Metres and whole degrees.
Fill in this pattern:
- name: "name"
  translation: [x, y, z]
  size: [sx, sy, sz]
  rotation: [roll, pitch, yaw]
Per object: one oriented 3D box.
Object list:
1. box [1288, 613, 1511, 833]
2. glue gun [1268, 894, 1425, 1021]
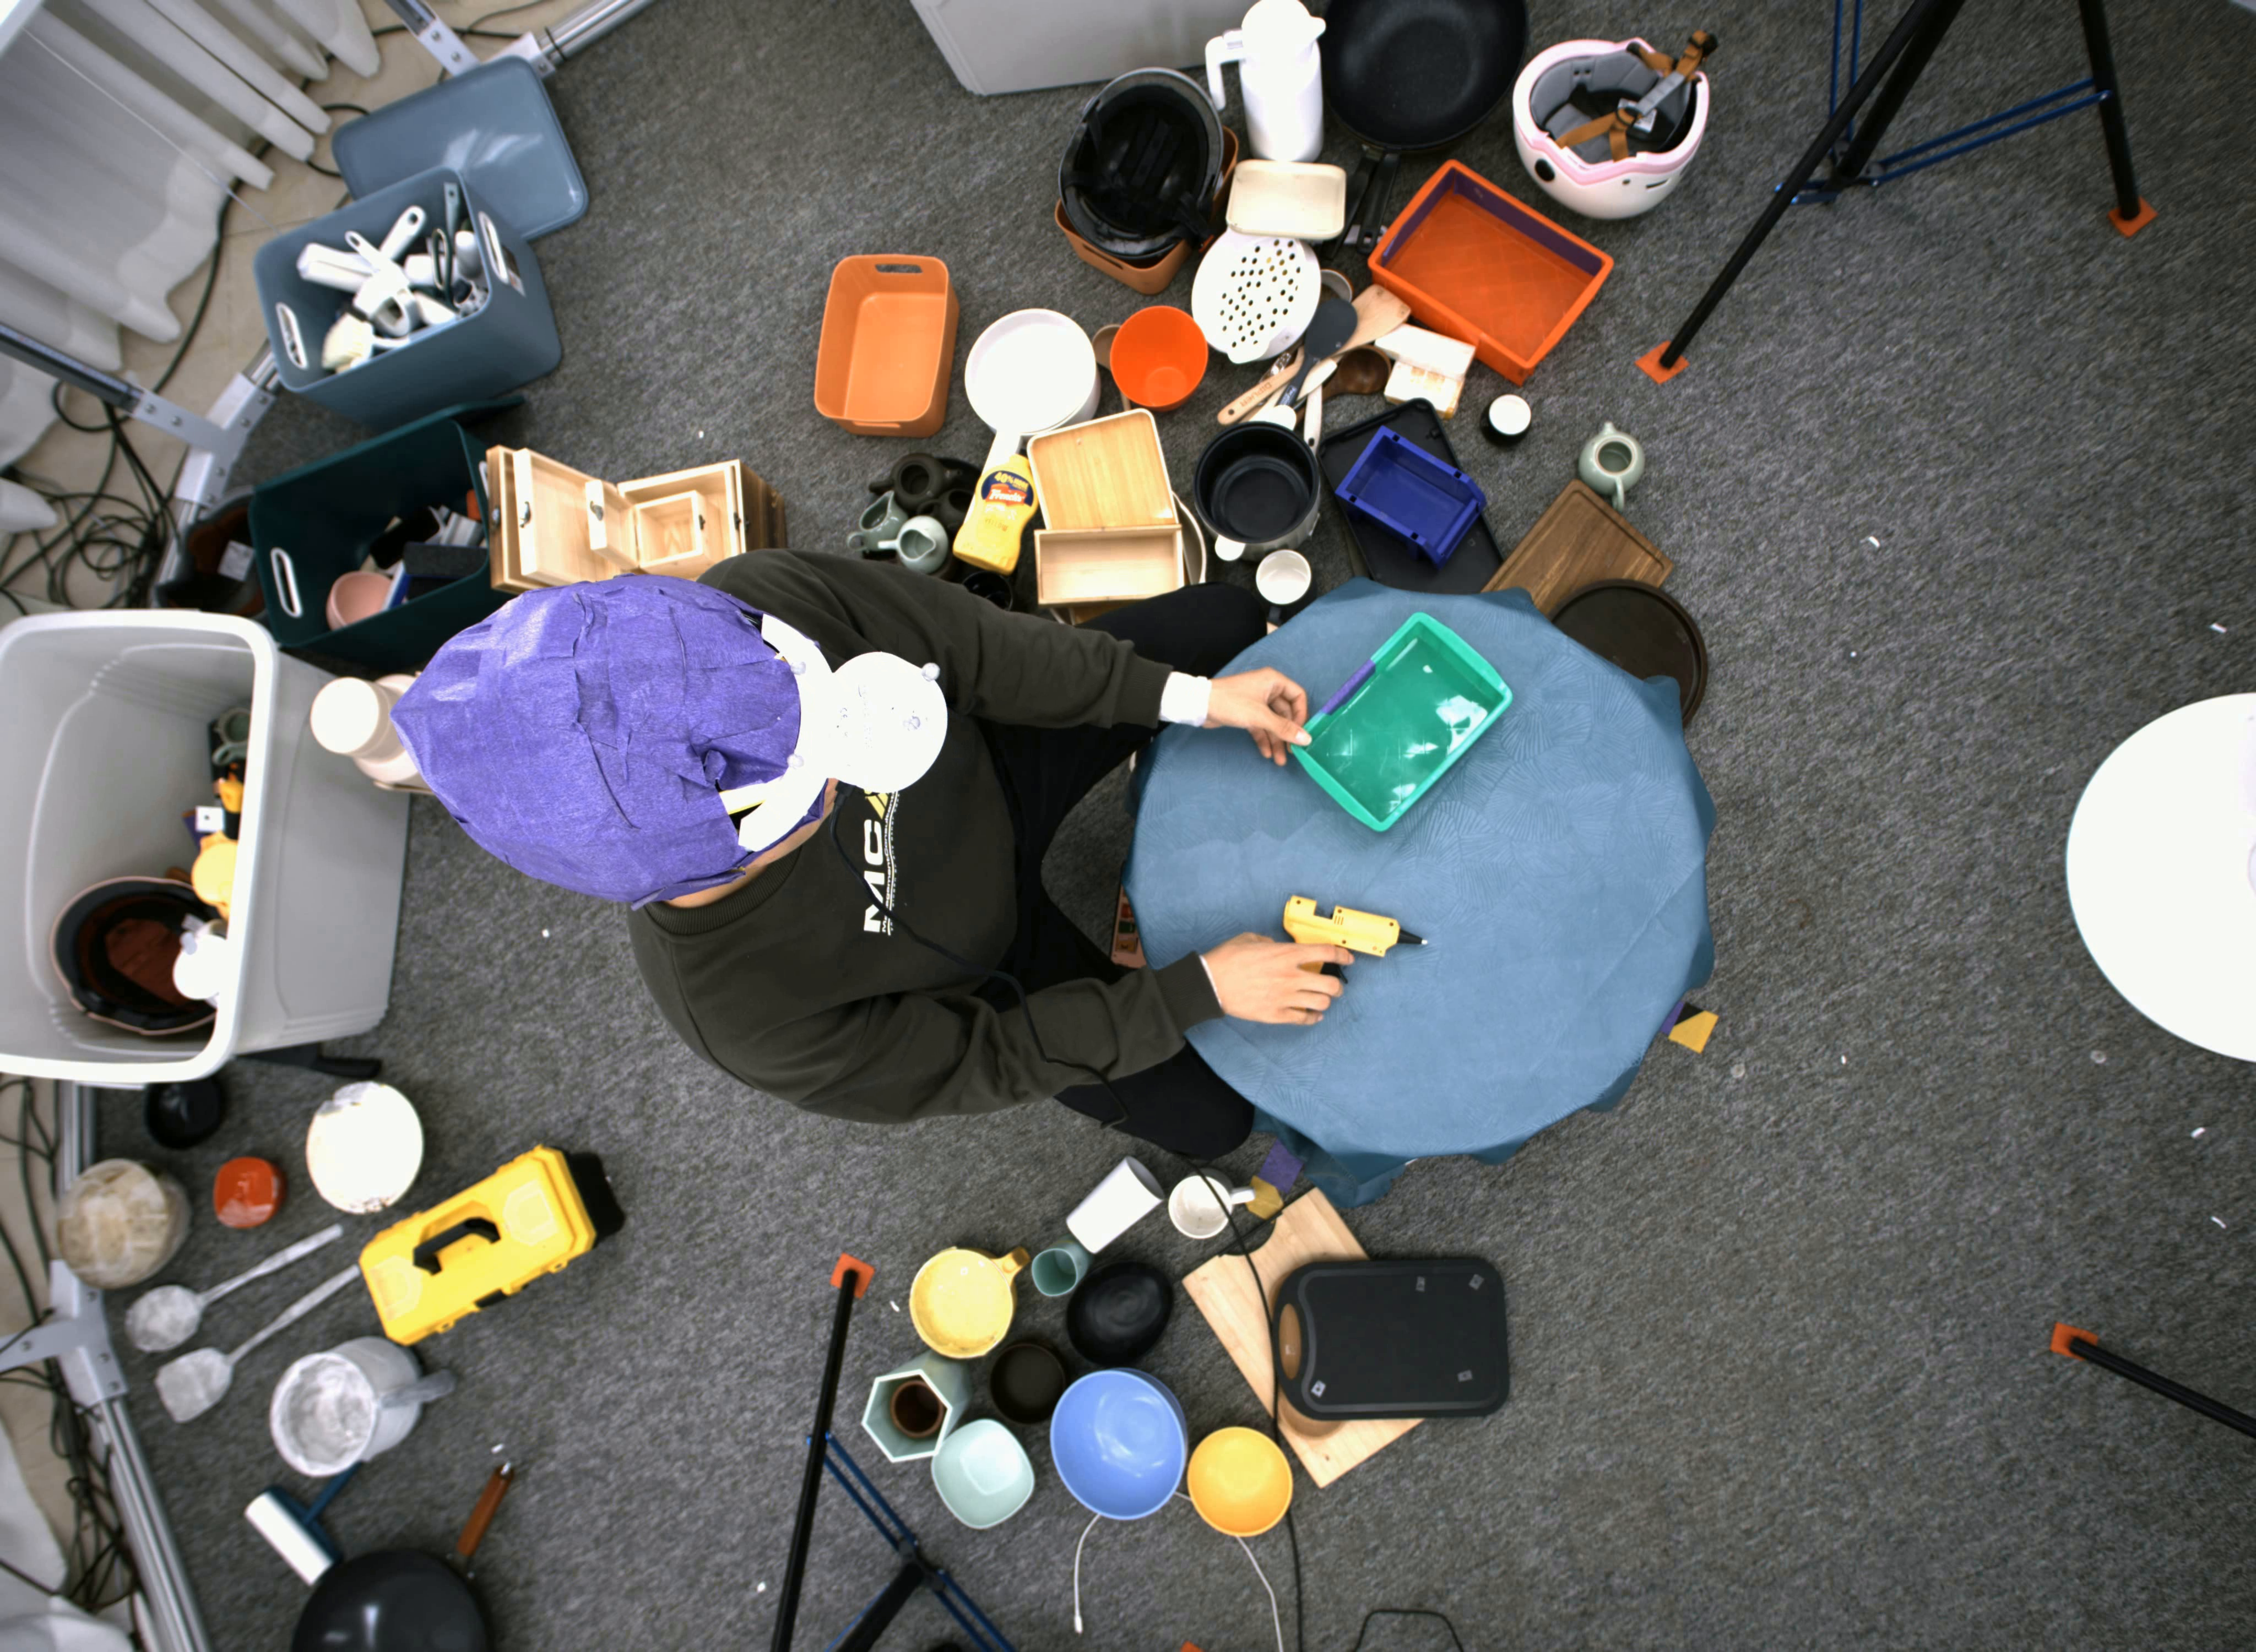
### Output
- name: "box"
  translation: [0.283, -0.104, 1.435]
  size: [0.138, 0.065, 0.211]
  rotation: [44, 96, 12]
- name: "glue gun"
  translation: [0.230, 0.146, 1.450]
  size: [0.151, 0.031, 0.133]
  rotation: [9, 90, 11]
